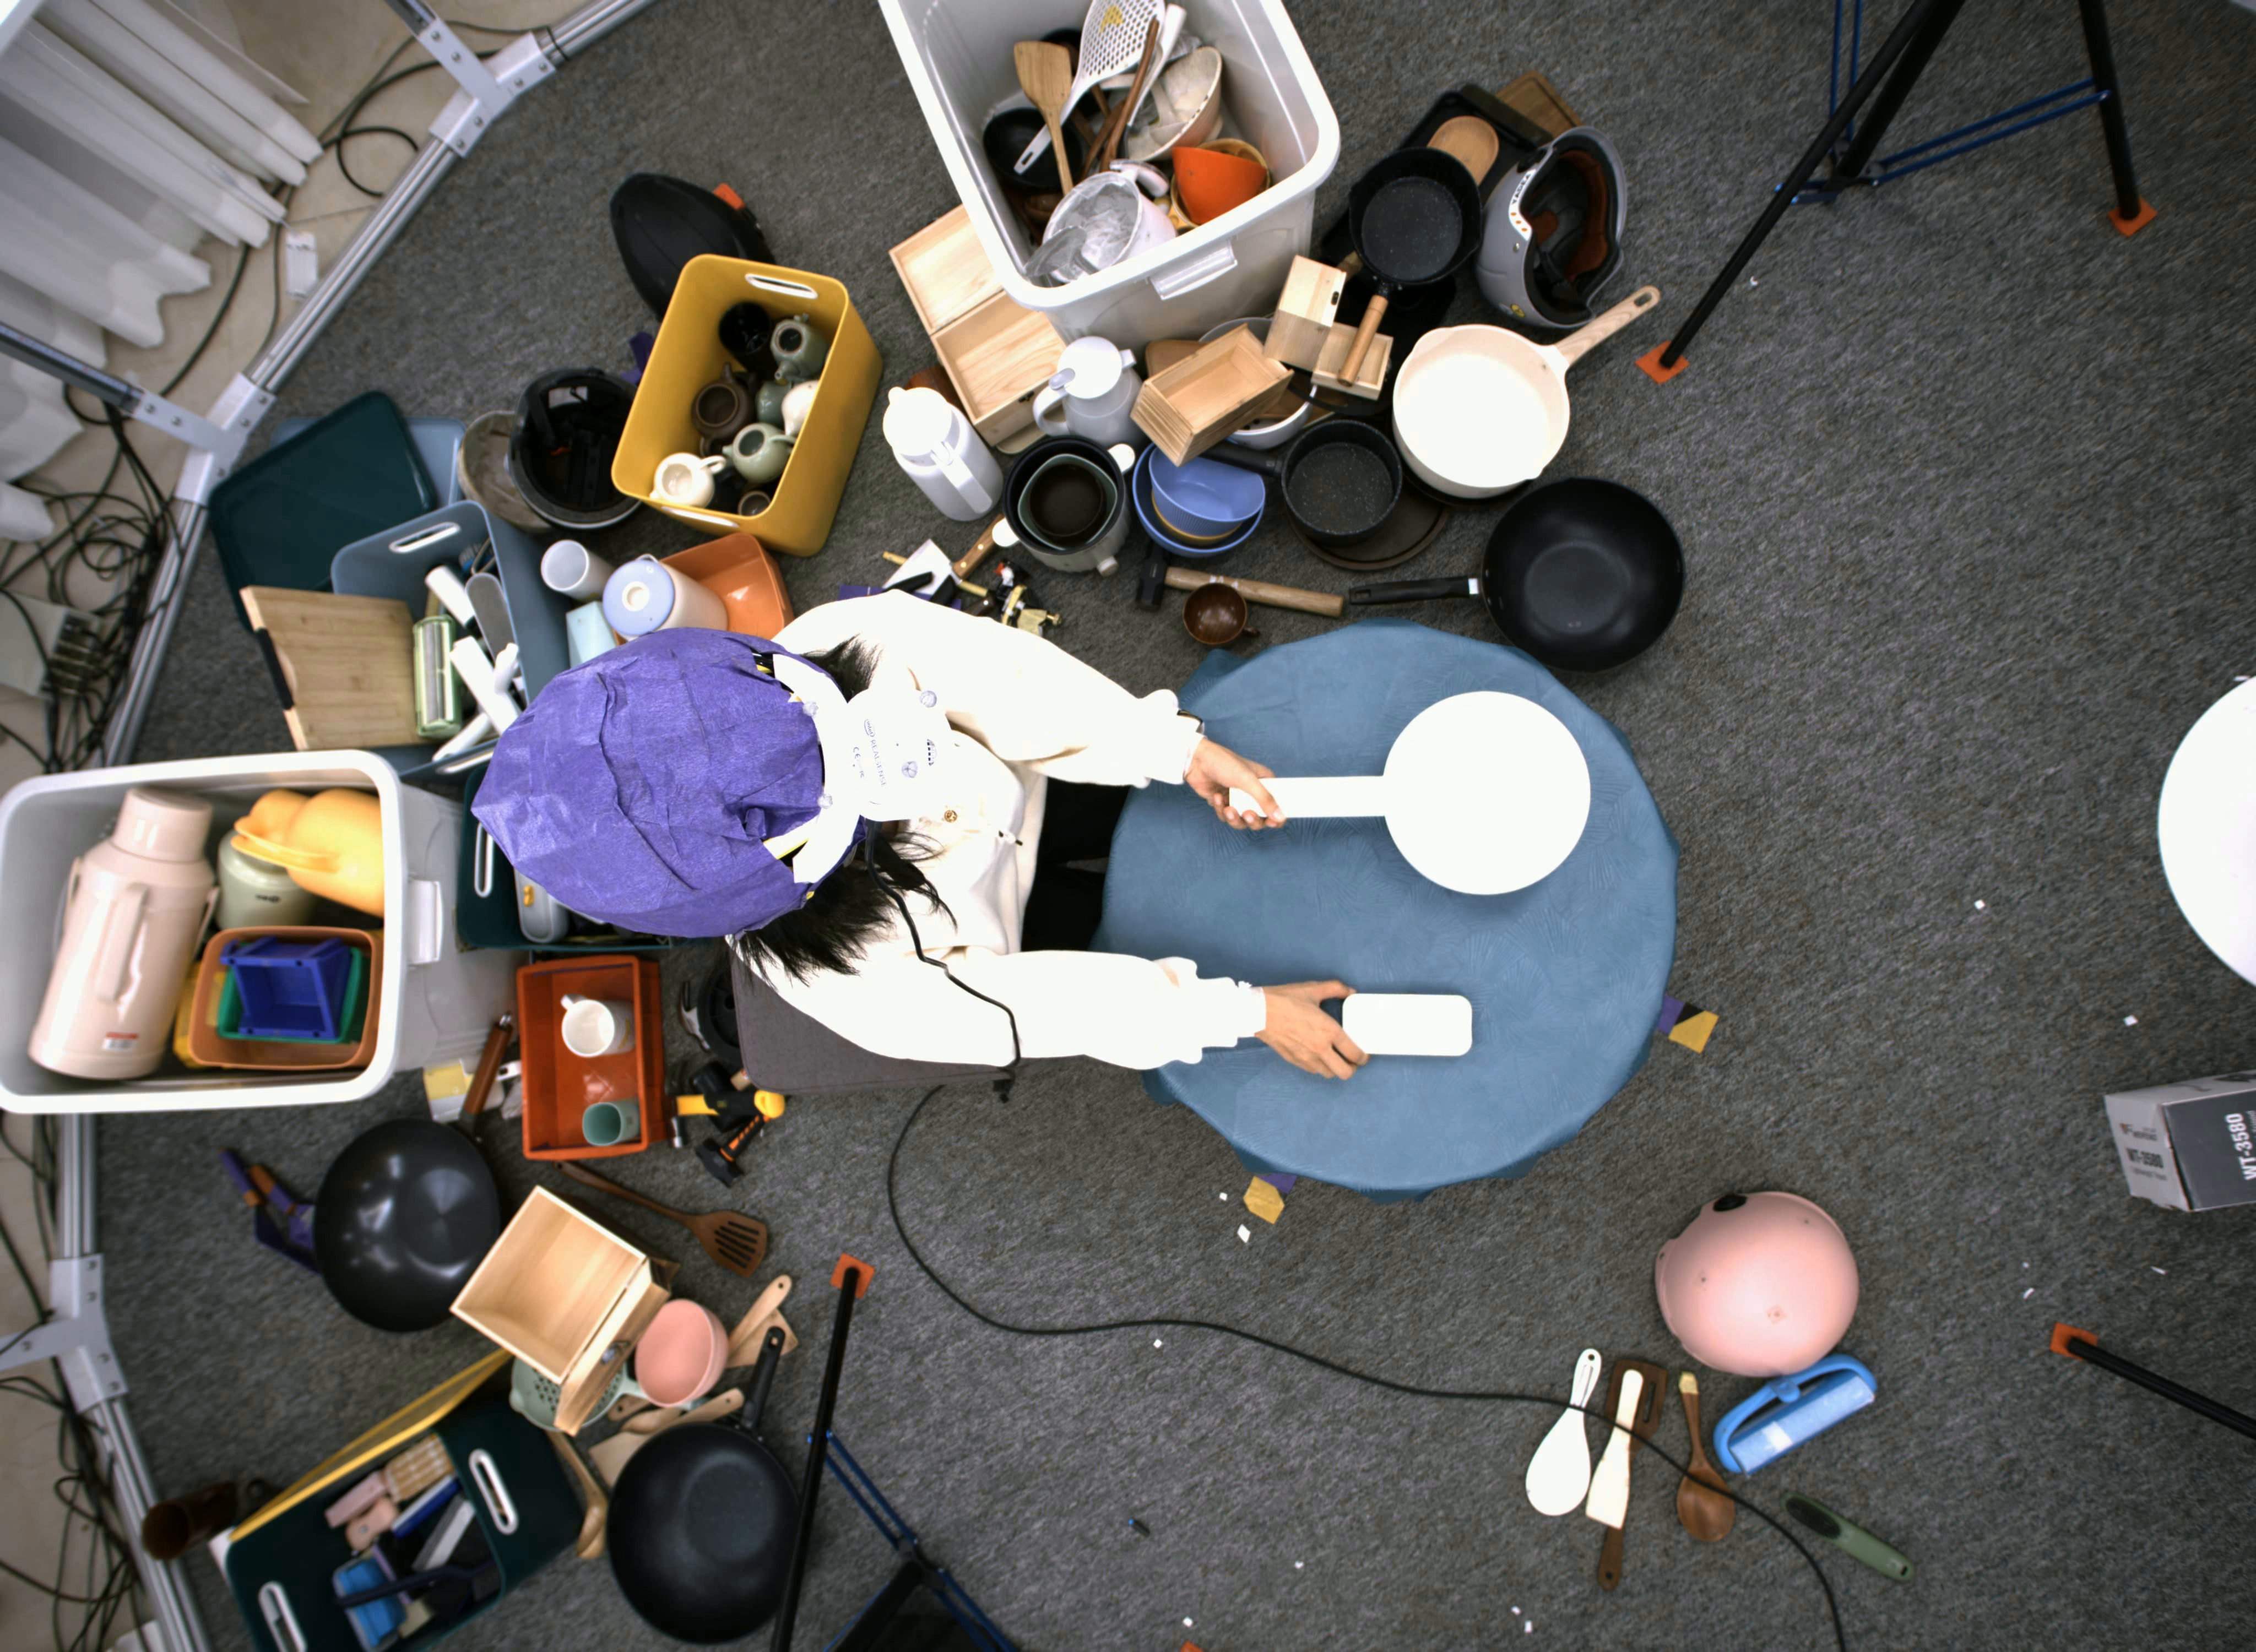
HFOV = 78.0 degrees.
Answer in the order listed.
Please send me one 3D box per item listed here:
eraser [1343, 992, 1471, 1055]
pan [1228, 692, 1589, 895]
[{"bbox_3d":[0.289,0.203,1.434,0.132,0.034,0.063,0,82,10],"label":"eraser"},{"bbox_3d":[0.284,-0.028,1.413,0.356,0.102,0.200,-2,84,13],"label":"pan"}]
